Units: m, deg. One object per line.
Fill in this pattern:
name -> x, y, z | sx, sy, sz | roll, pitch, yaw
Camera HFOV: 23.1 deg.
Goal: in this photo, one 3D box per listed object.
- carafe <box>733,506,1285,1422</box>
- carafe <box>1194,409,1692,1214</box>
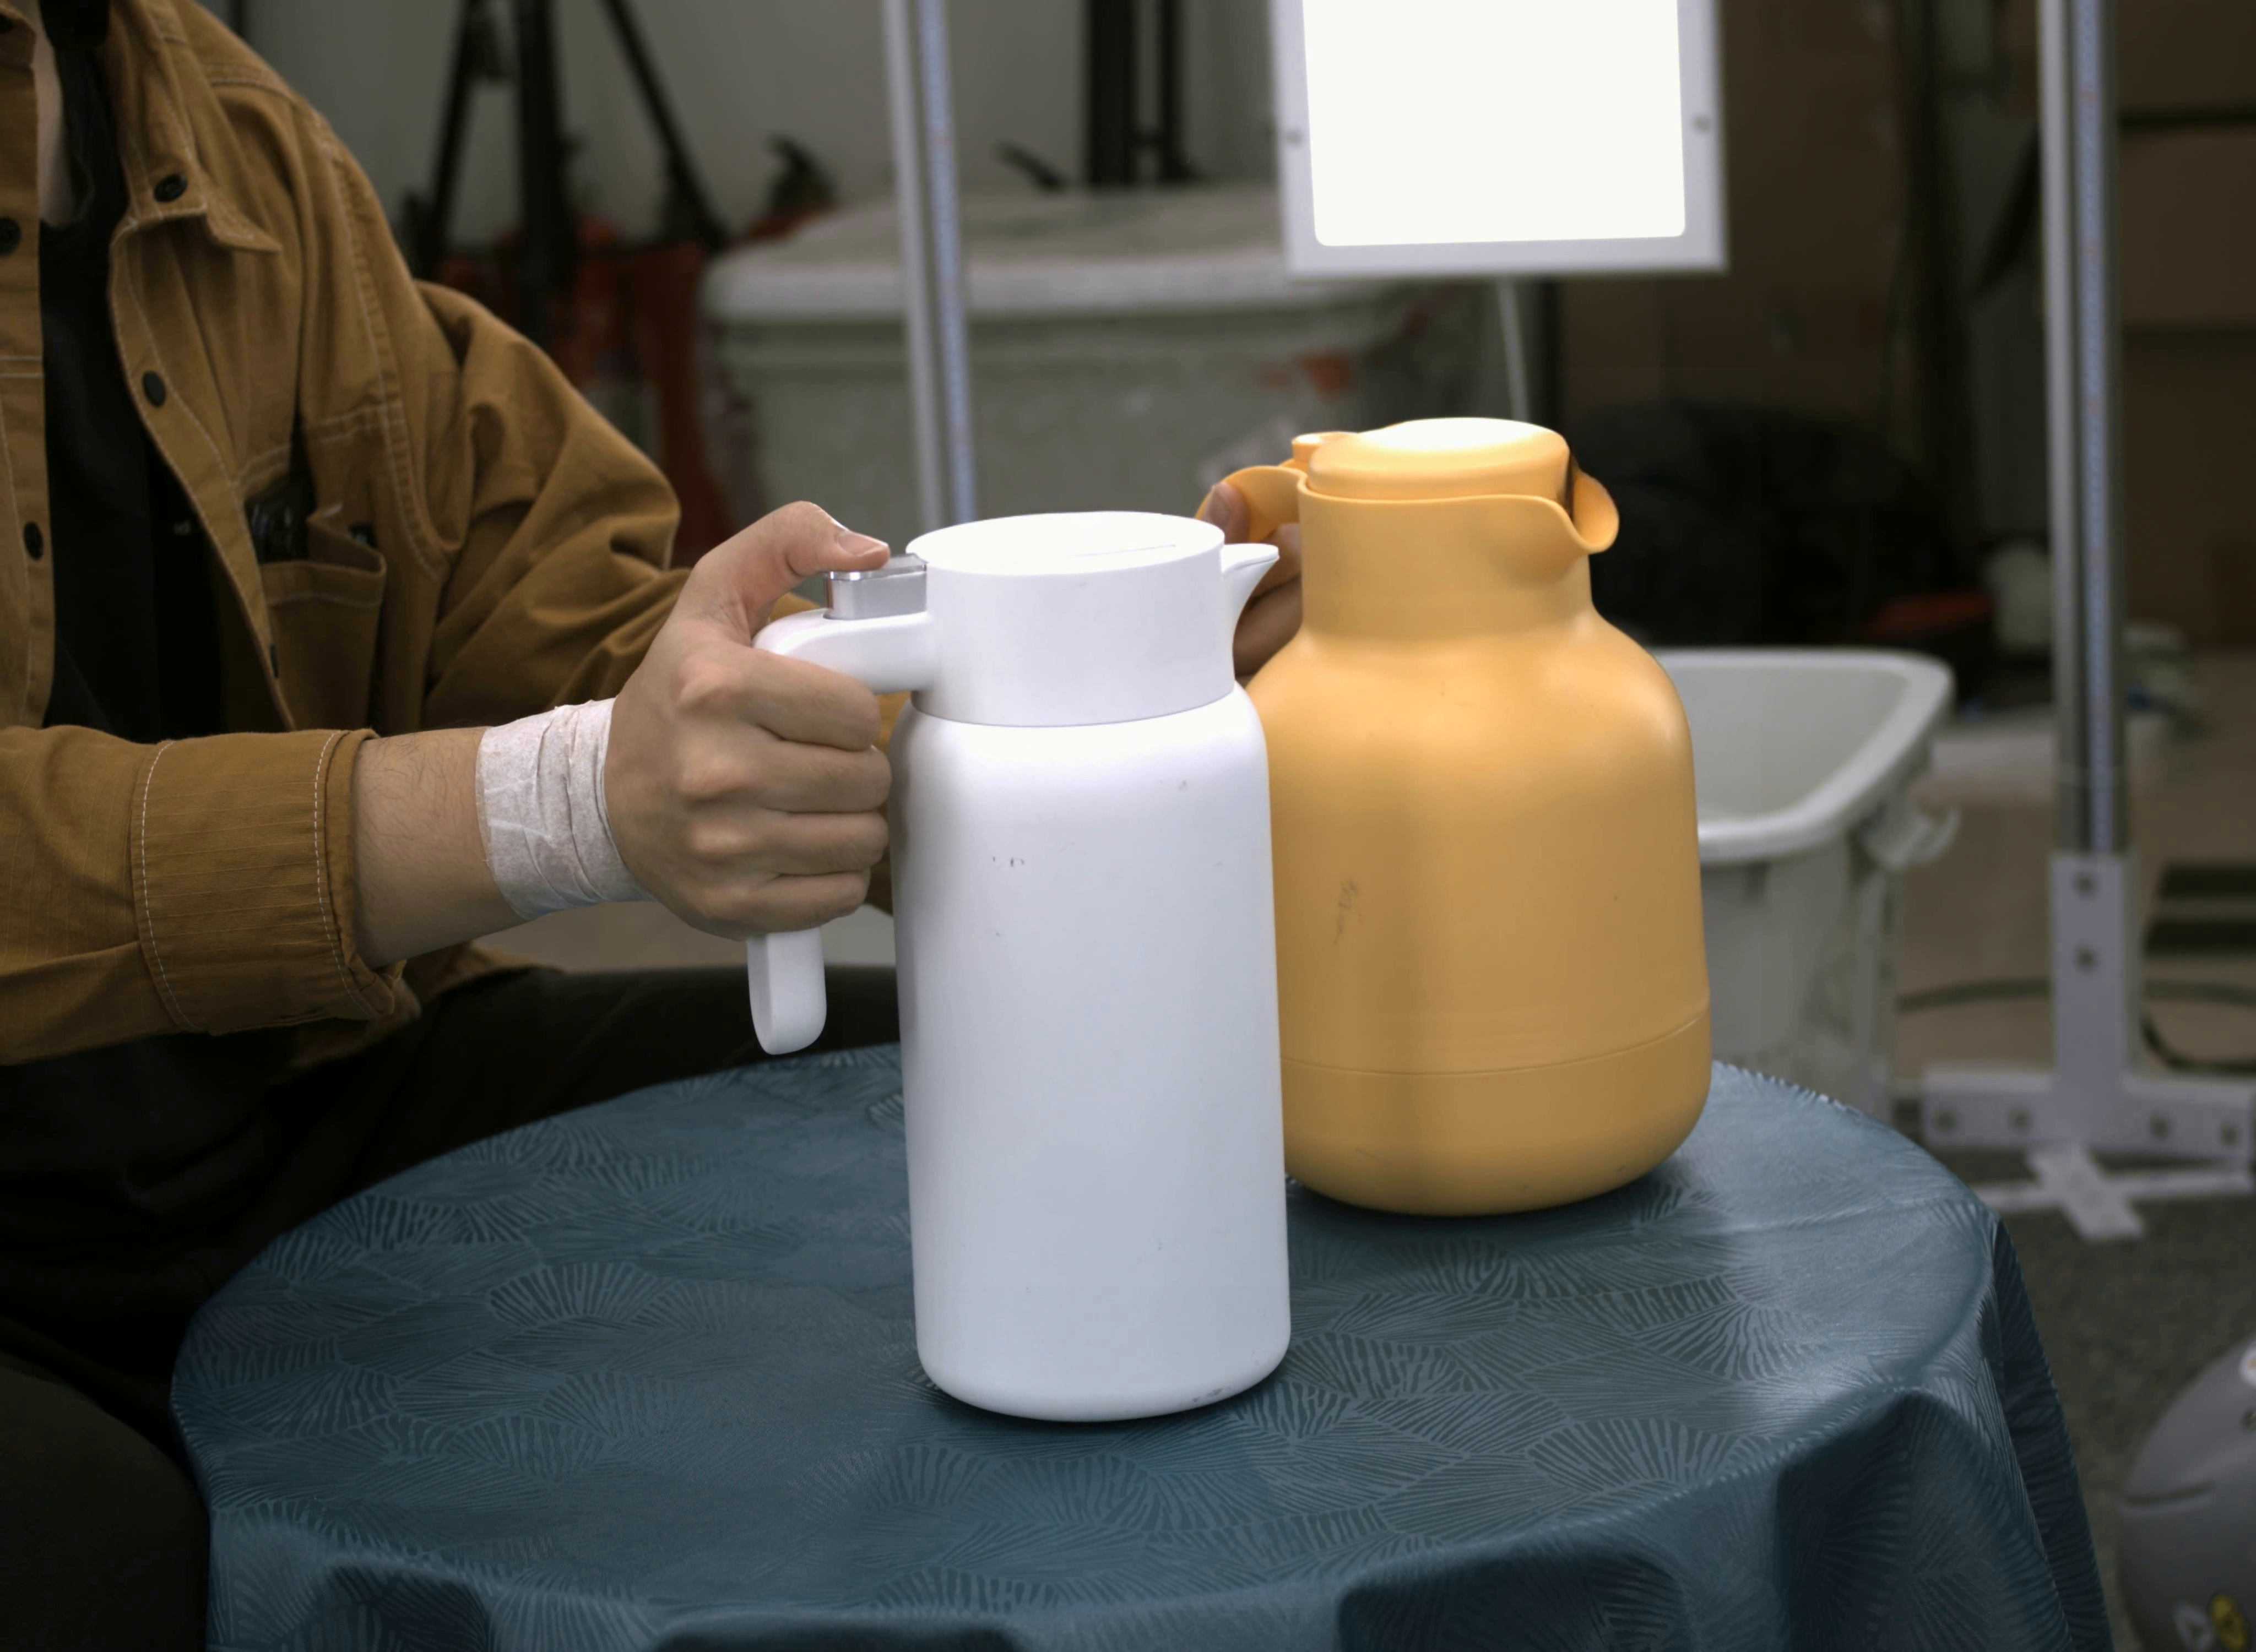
carafe -> -0.030, 0.043, 1.682 | 0.170, 0.270, 0.125 | -7, 16, -16
carafe -> 0.098, -0.012, 1.873 | 0.159, 0.261, 0.206 | -11, 17, -36
